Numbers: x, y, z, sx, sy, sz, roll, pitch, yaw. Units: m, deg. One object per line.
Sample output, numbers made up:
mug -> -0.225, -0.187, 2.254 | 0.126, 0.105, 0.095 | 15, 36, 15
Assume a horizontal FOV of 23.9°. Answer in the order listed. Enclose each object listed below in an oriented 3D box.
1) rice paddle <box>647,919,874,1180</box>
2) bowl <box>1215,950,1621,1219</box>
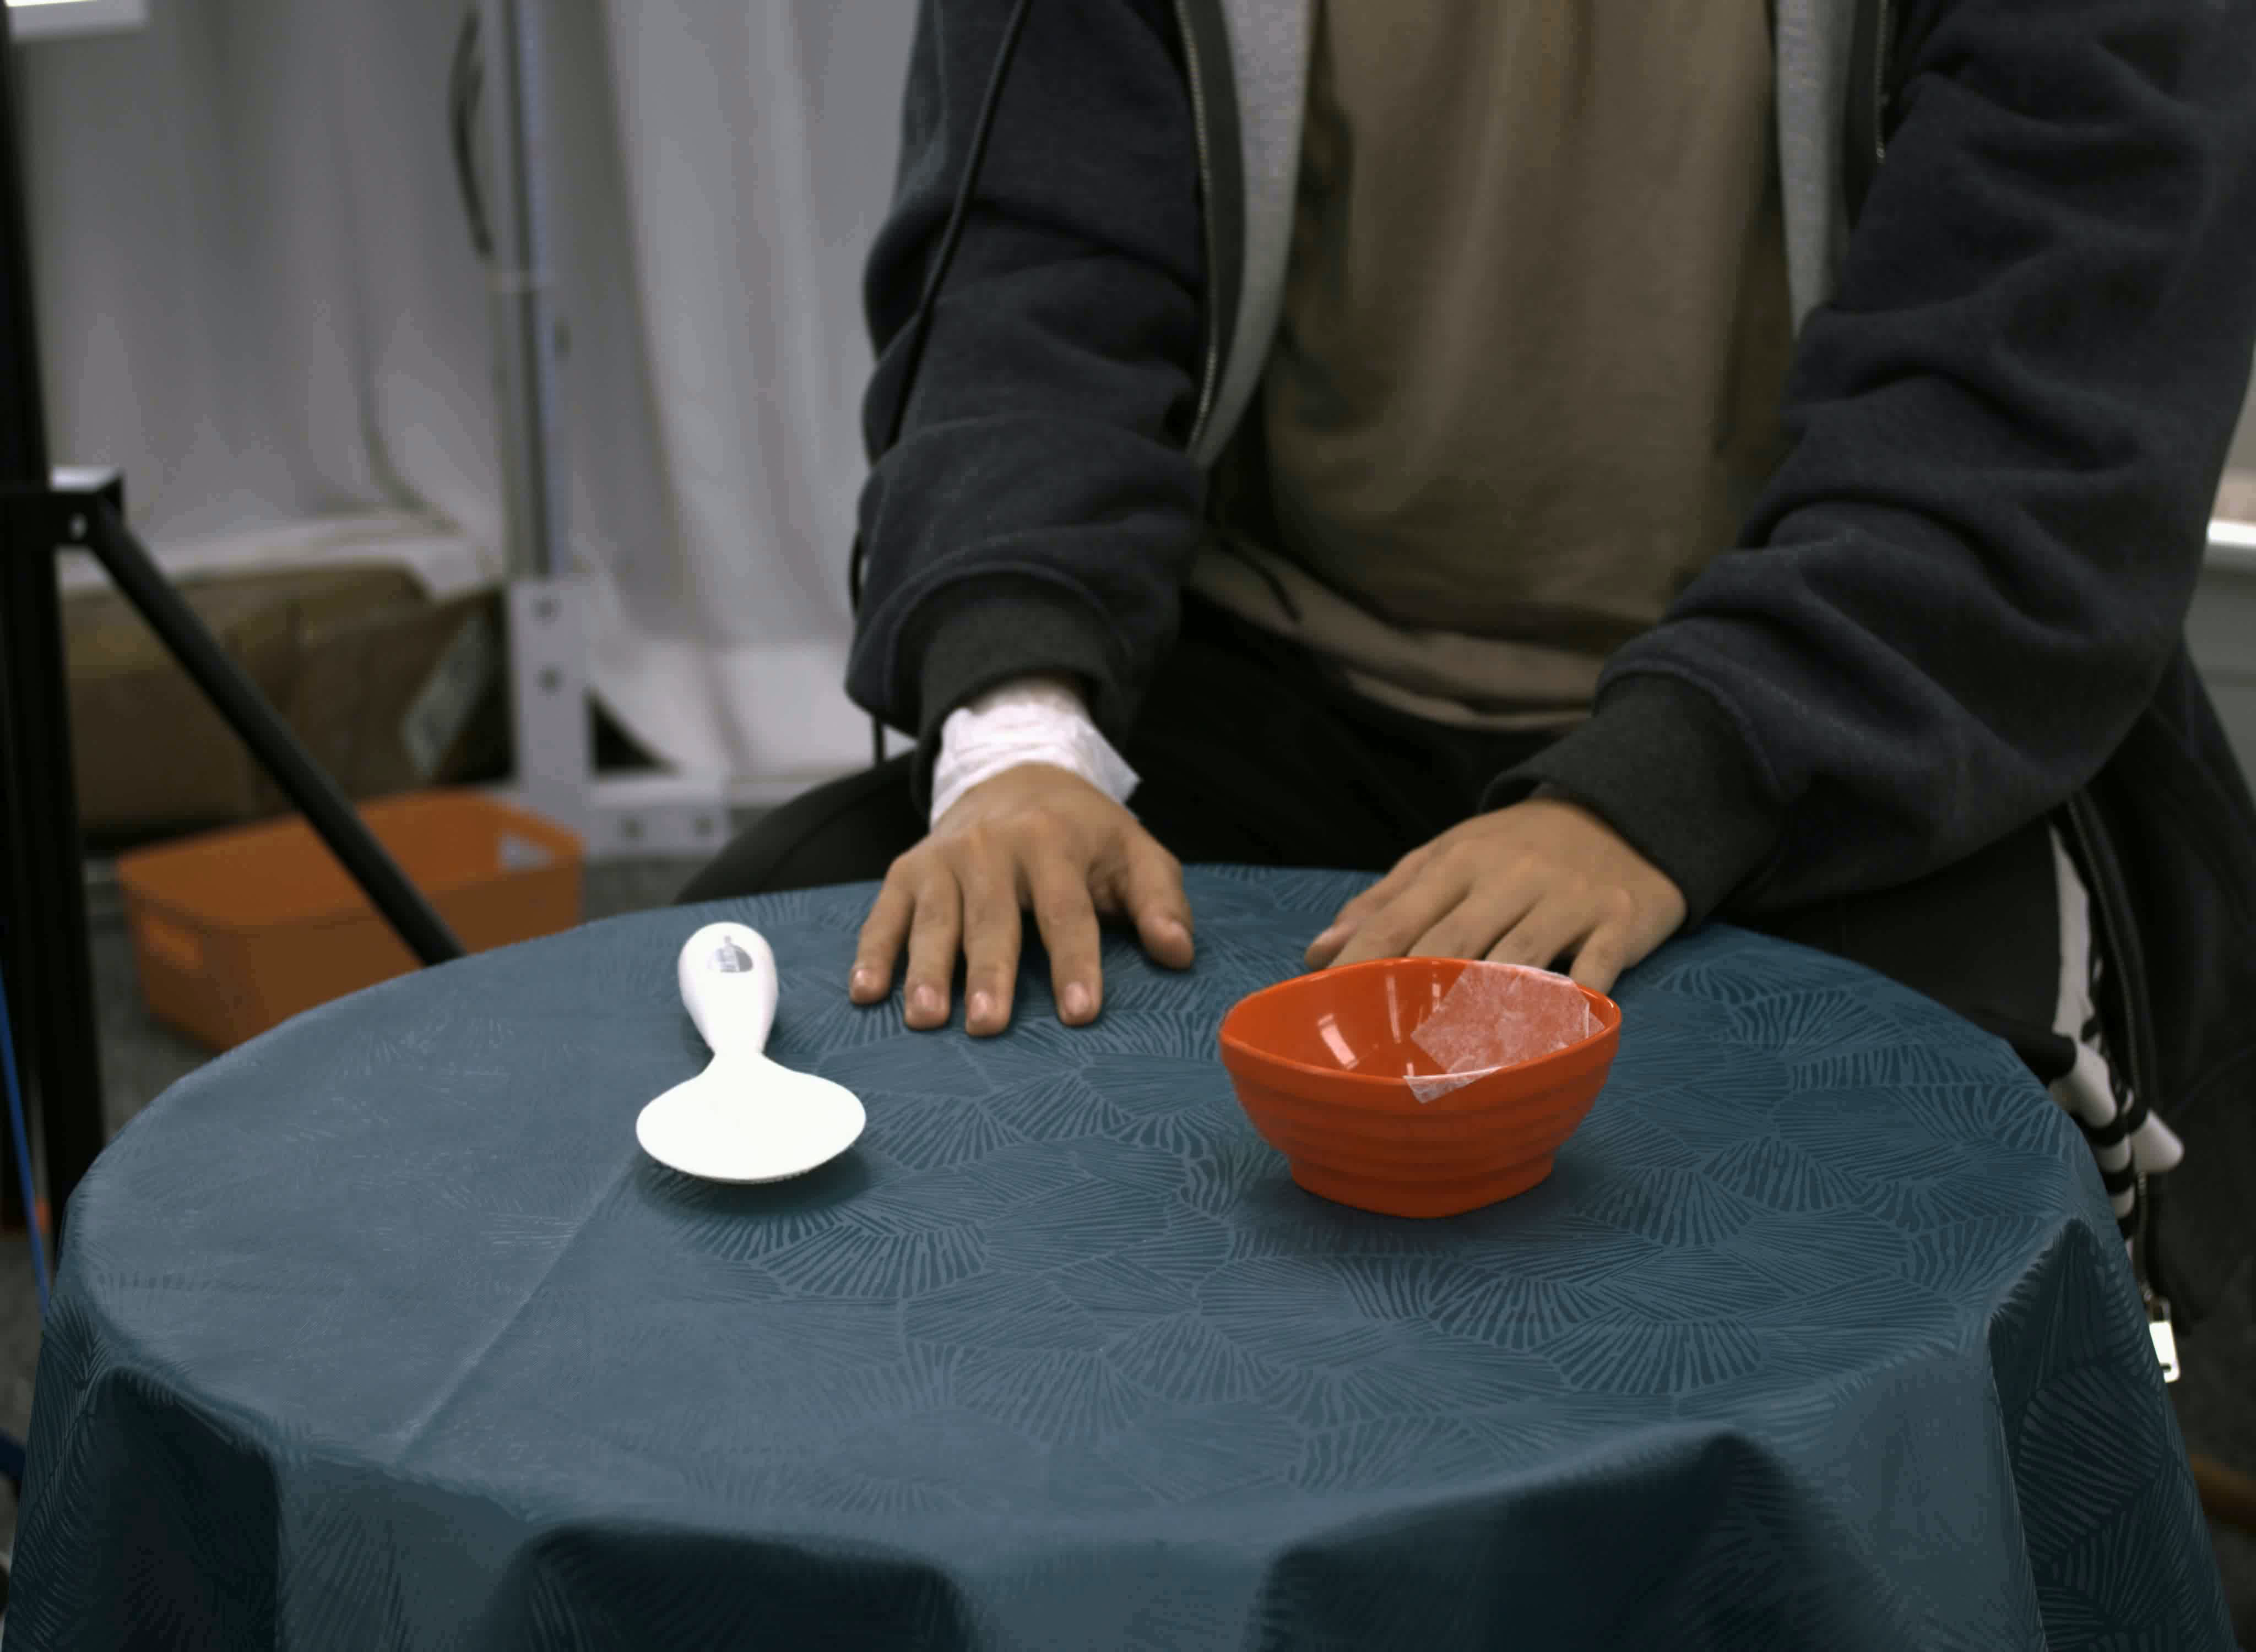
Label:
rice paddle -> -0.118, 0.072, 1.653 | 0.068, 0.029, 0.207 | -6, 16, -6
bowl -> 0.086, 0.078, 1.554 | 0.118, 0.051, 0.119 | -3, 16, 0
